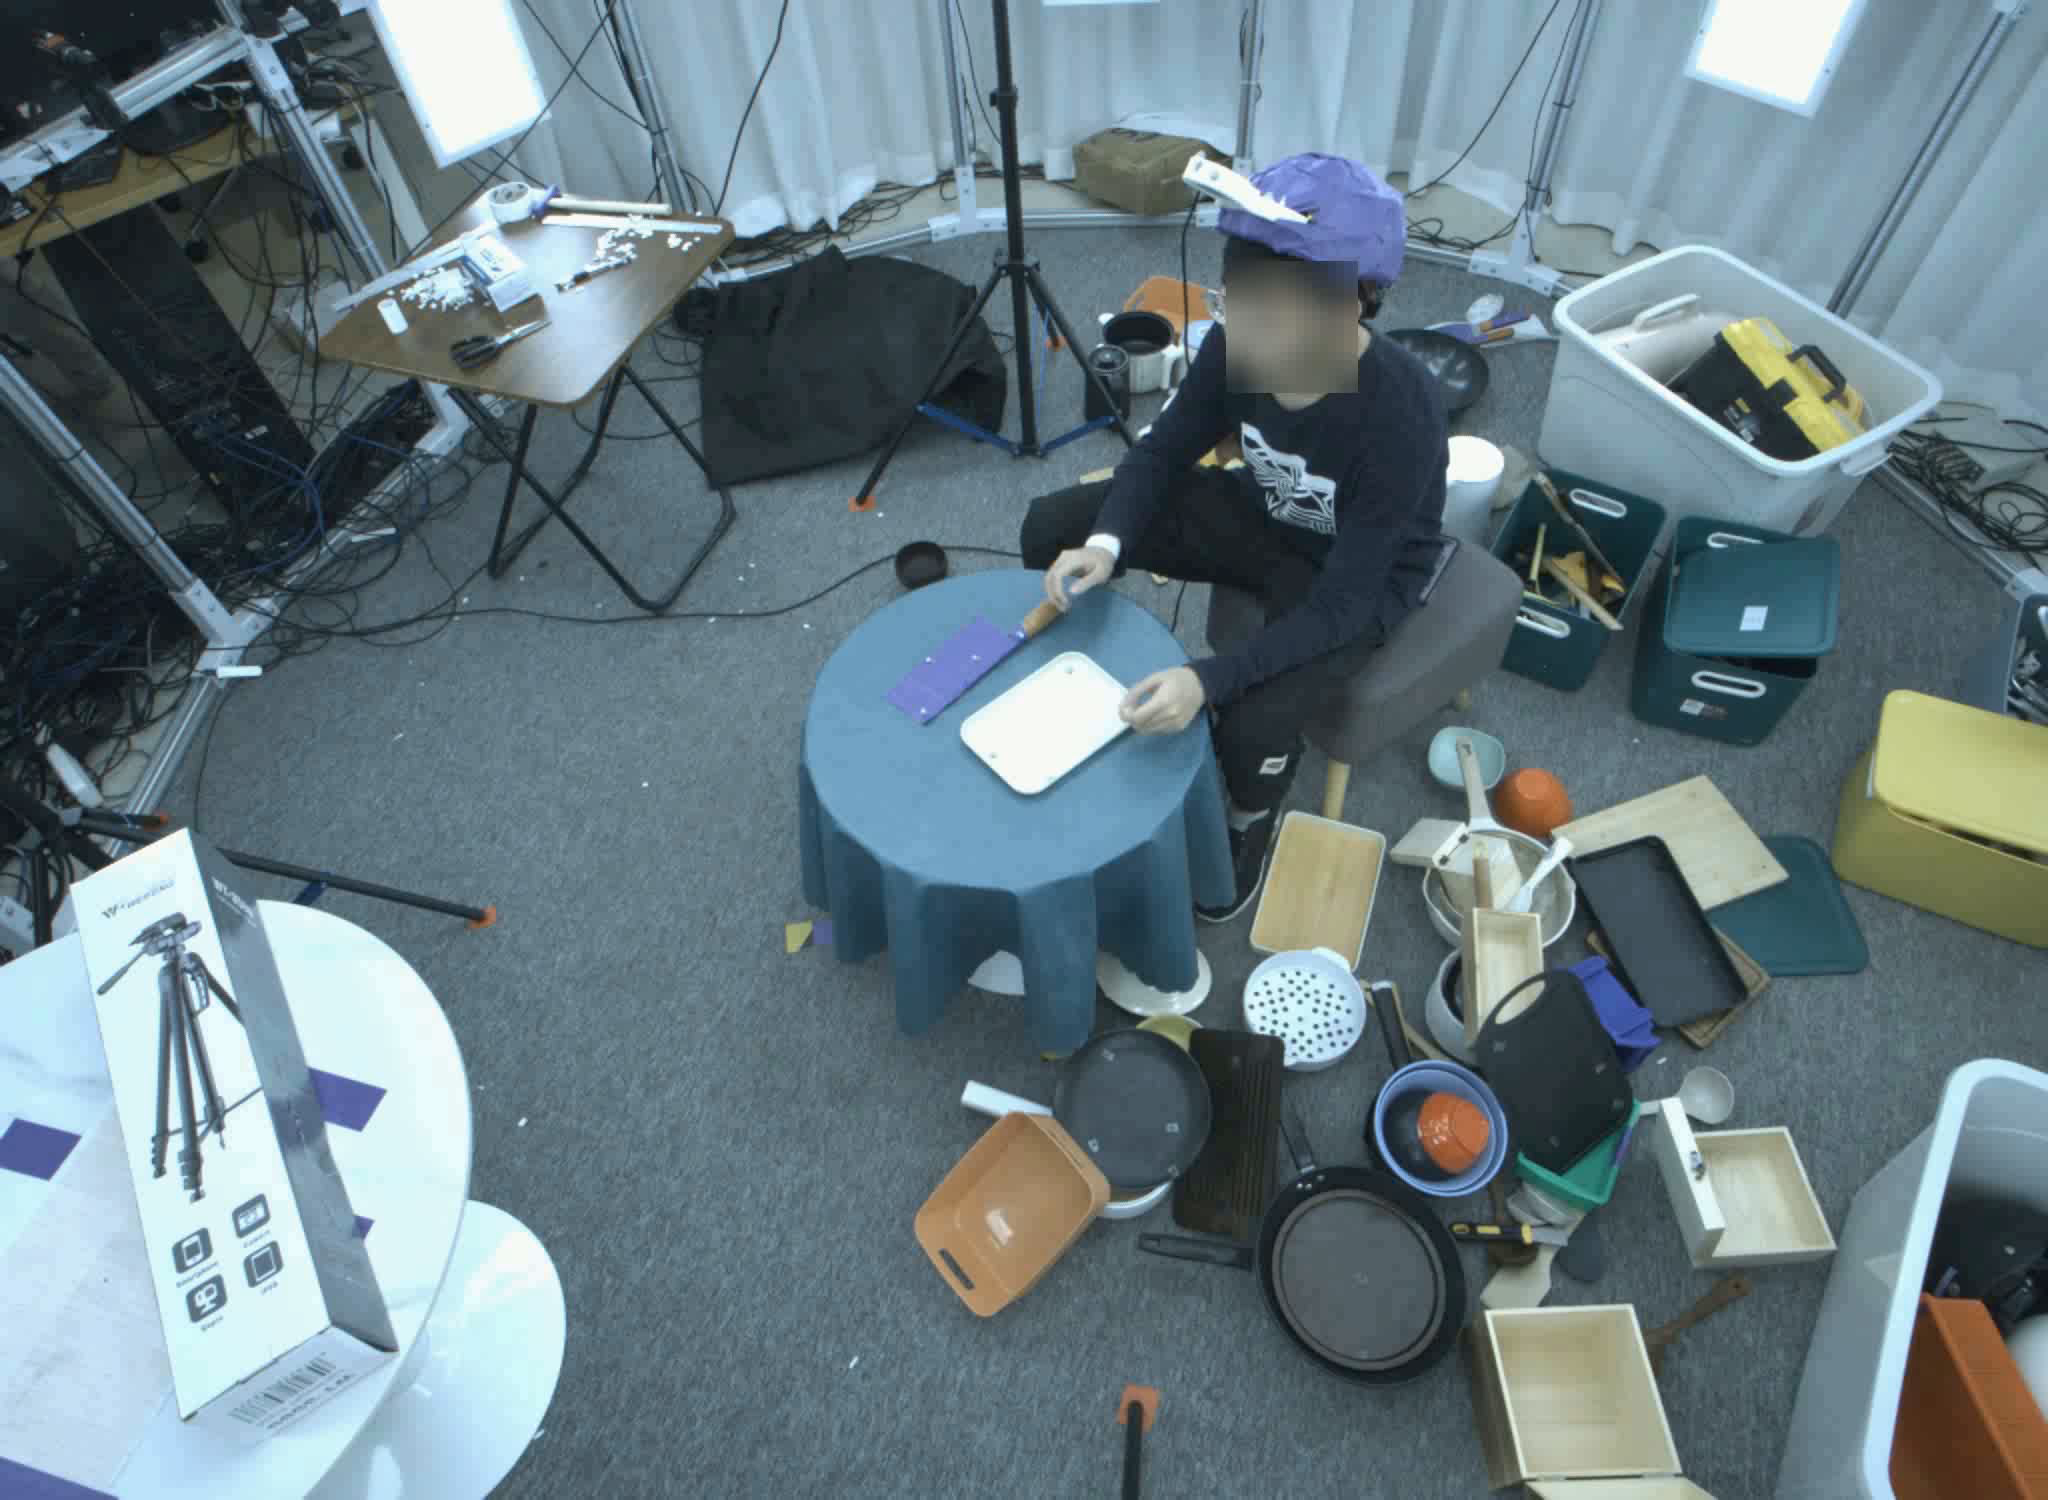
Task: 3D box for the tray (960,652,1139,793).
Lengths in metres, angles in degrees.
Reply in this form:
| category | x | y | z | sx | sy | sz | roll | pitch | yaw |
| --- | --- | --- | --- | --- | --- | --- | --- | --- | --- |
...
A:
| category | x | y | z | sx | sy | sz | roll | pitch | yaw |
| --- | --- | --- | --- | --- | --- | --- | --- | --- | --- |
| tray | 0.038 | -0.042 | 1.813 | 0.241 | 0.017 | 0.168 | -36 | 60 | -22 |

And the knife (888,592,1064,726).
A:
| category | x | y | z | sx | sy | sz | roll | pitch | yaw |
| --- | --- | --- | --- | --- | --- | --- | --- | --- | --- |
| knife | -0.075 | -0.159 | 1.894 | 0.102 | 0.032 | 0.317 | 37 | 63 | 24 |
